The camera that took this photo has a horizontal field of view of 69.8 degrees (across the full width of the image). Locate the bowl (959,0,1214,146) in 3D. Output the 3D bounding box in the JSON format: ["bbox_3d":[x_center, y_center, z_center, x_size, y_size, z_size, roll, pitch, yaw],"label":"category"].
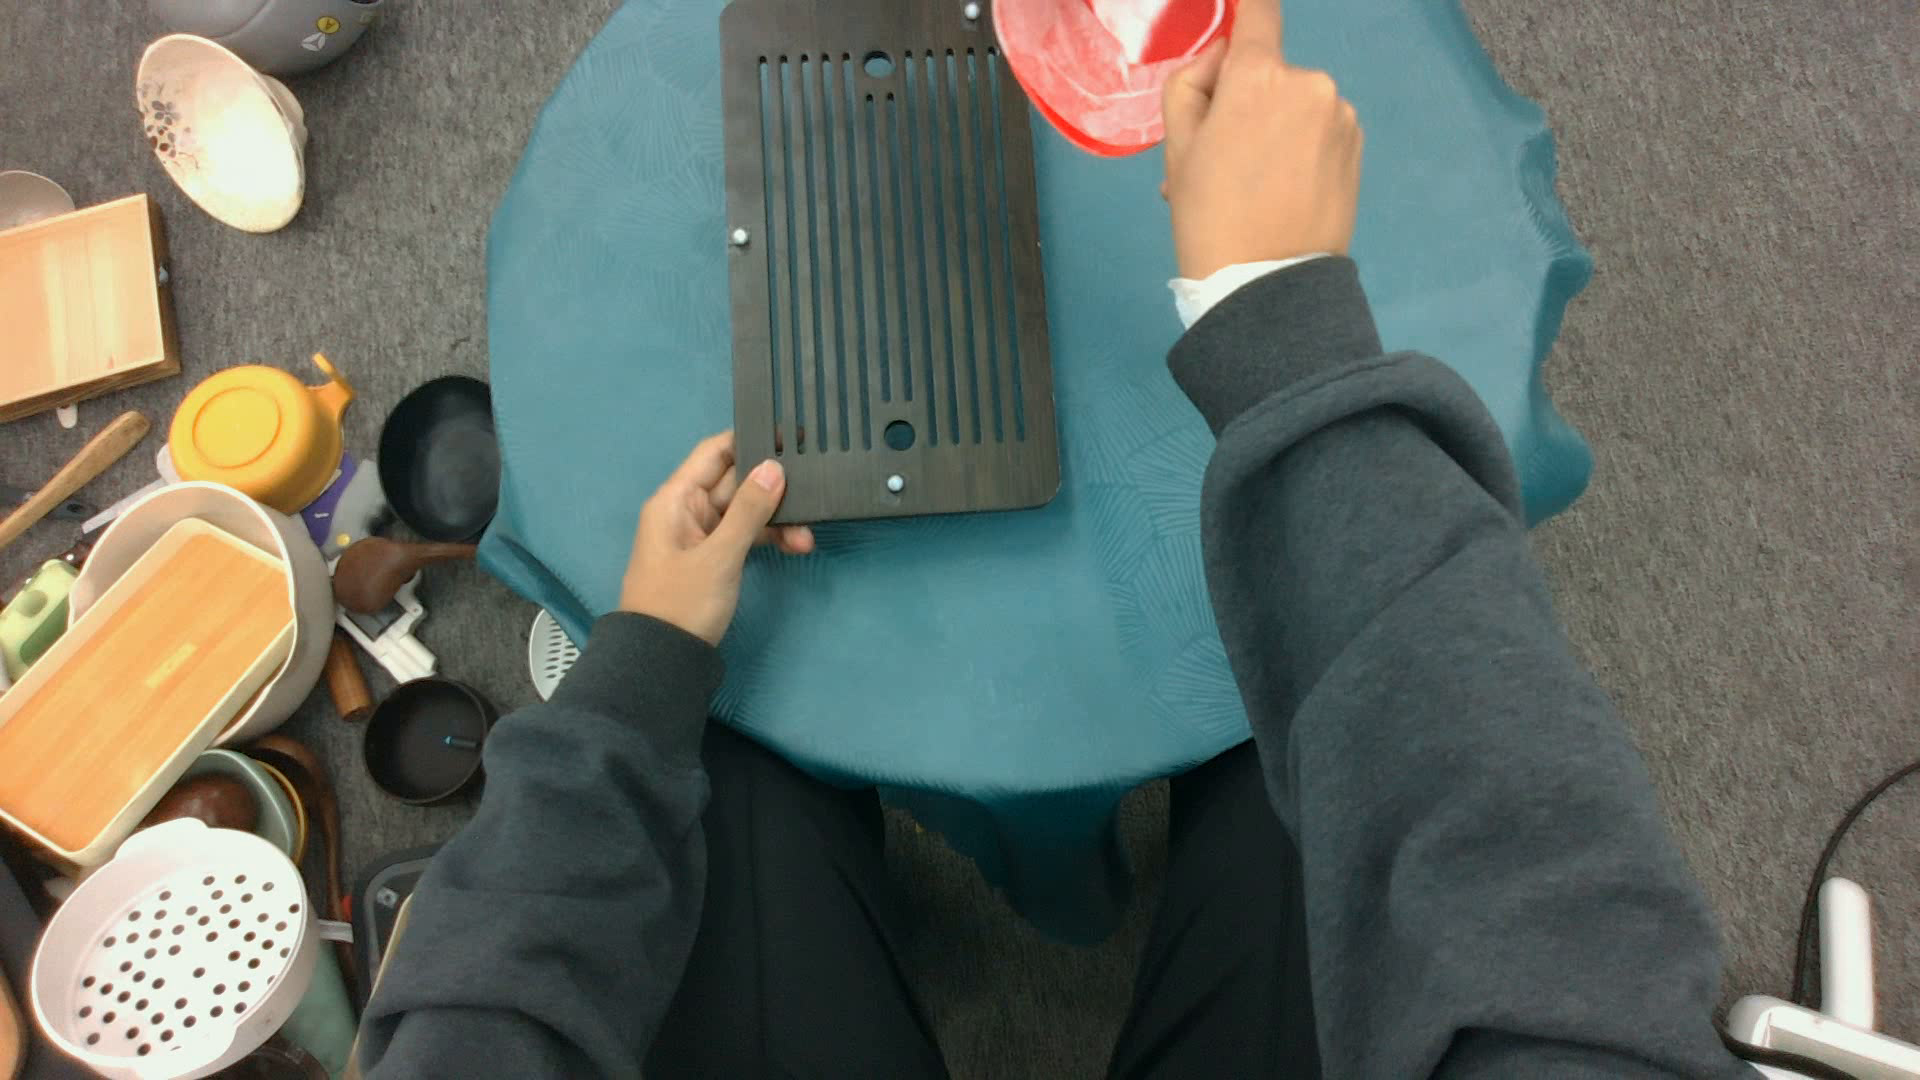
[{"bbox_3d":[0.063,-0.240,0.611,0.119,0.118,0.051,34,44,12],"label":"bowl"}]

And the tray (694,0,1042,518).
[{"bbox_3d":[-0.053,-0.164,0.750,0.170,0.018,0.306,-4,77,-3],"label":"tray"}]
